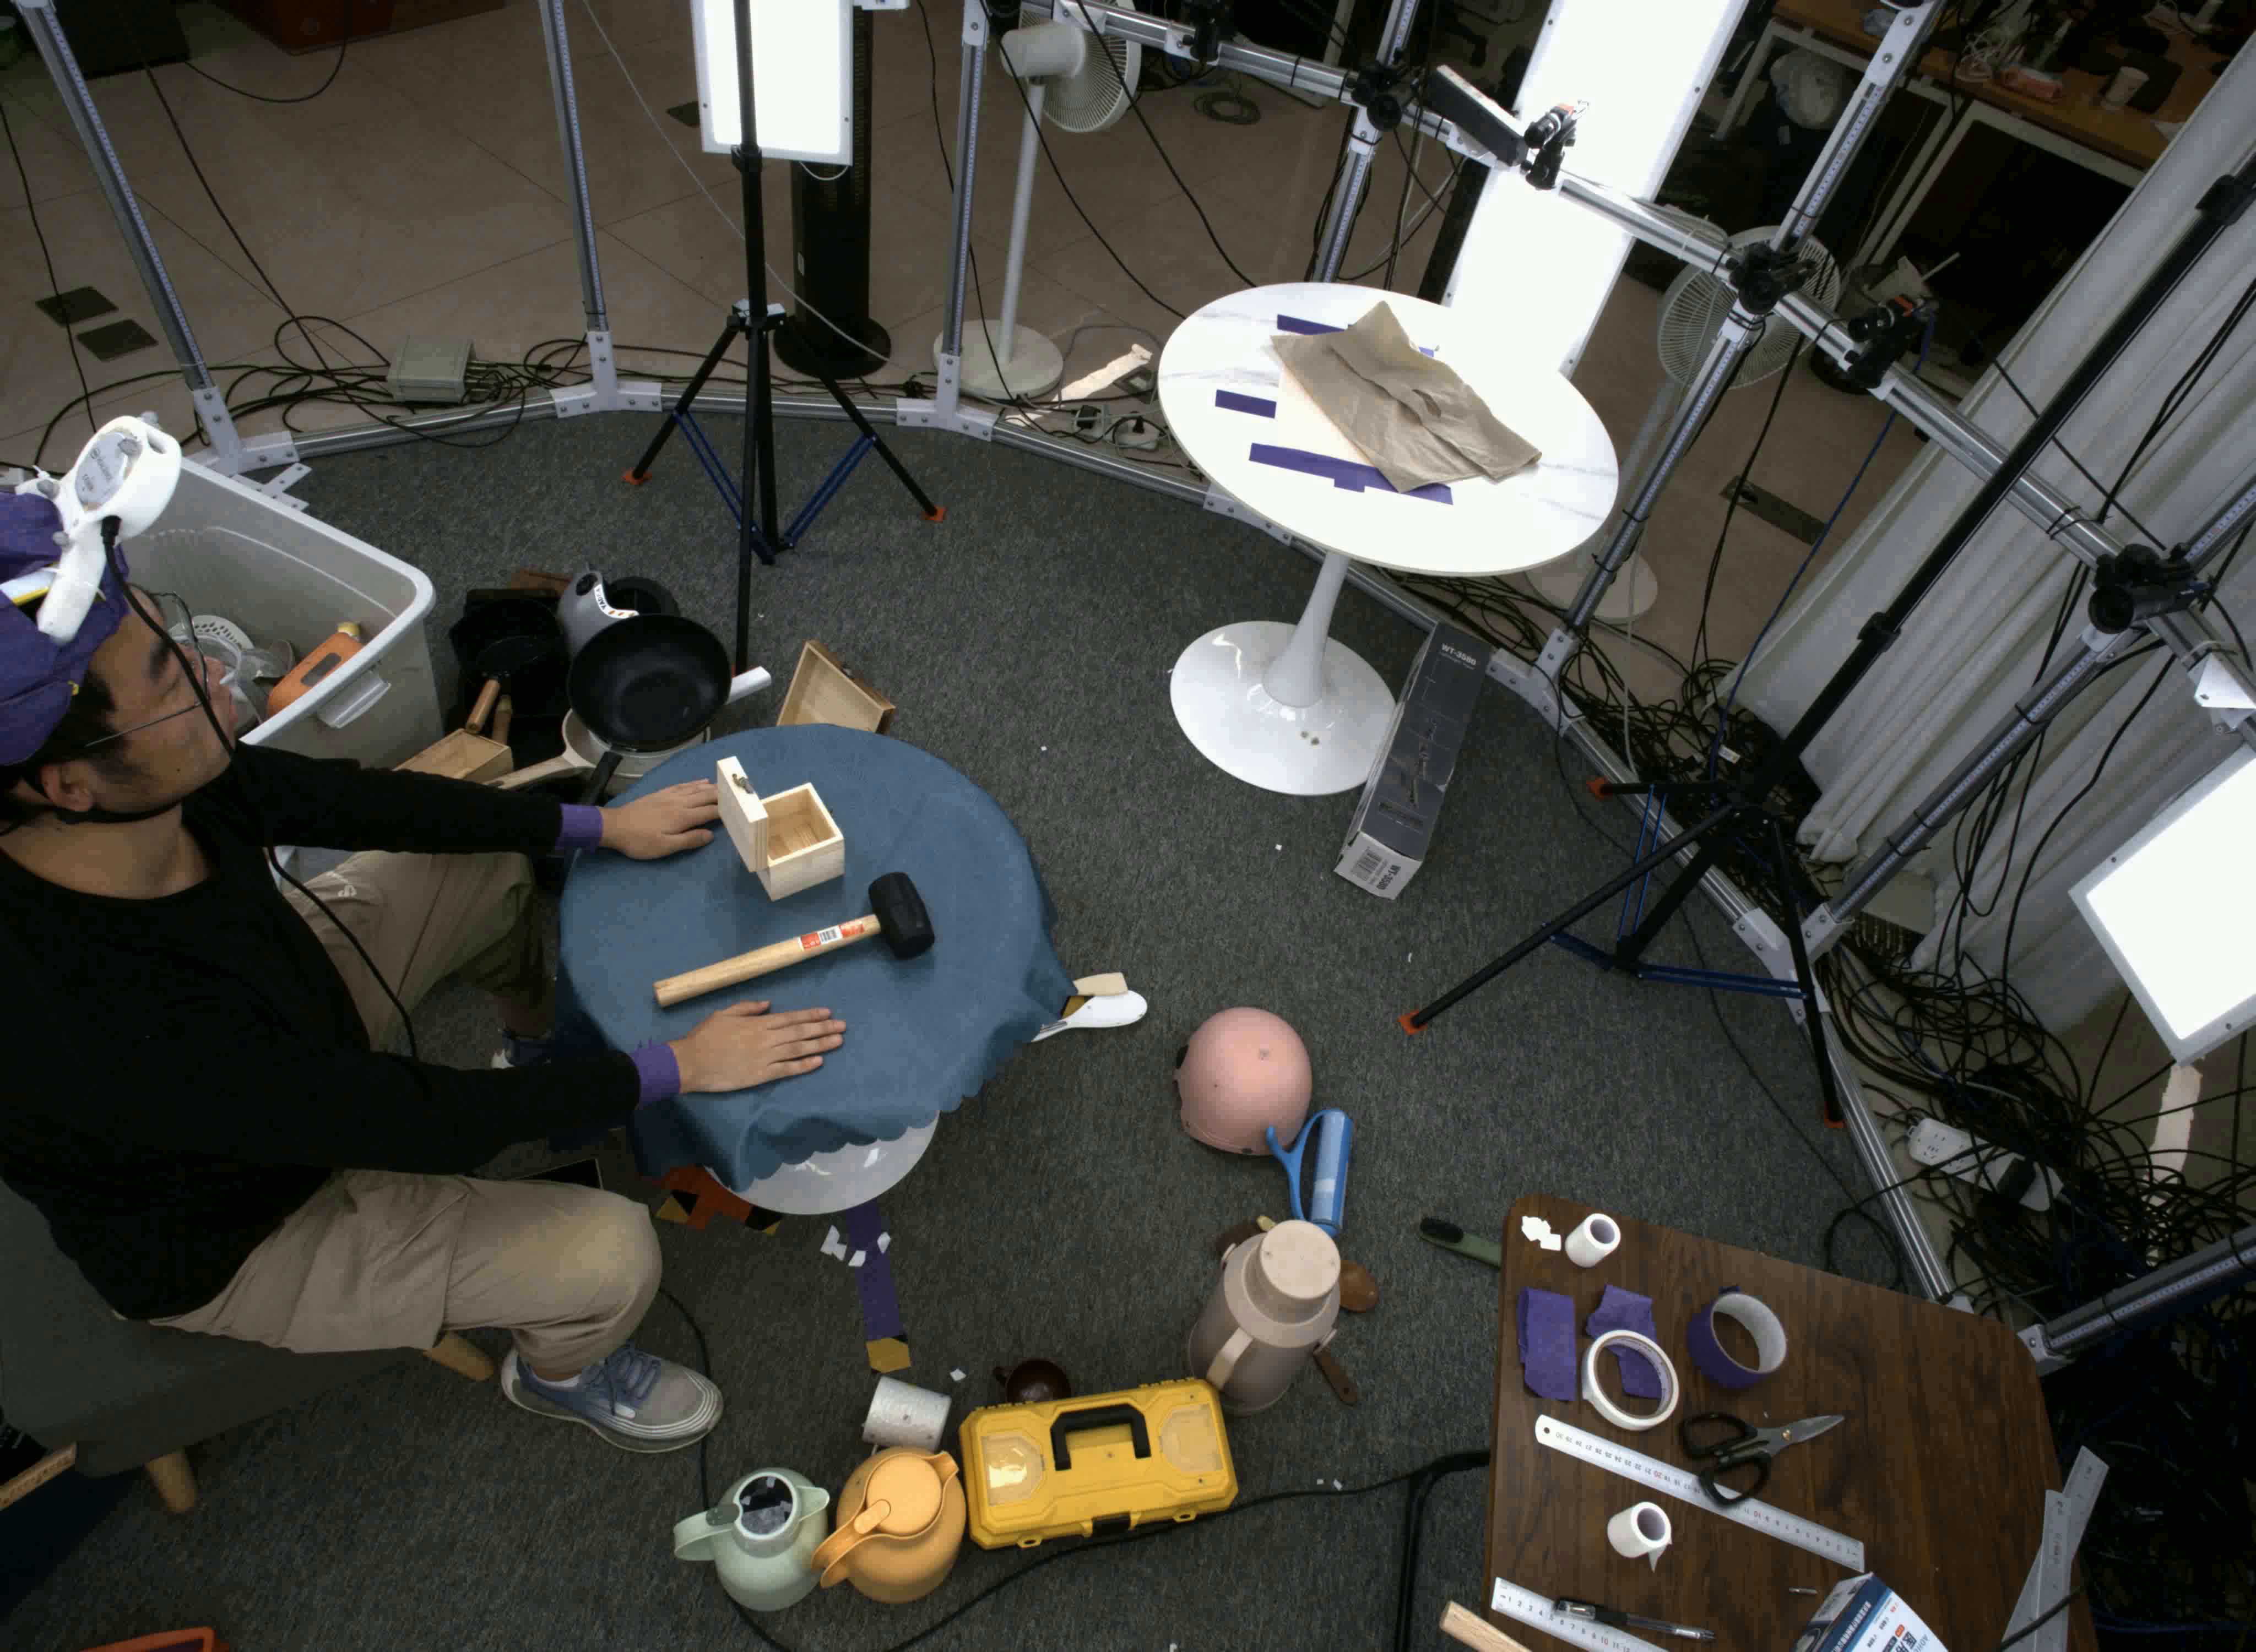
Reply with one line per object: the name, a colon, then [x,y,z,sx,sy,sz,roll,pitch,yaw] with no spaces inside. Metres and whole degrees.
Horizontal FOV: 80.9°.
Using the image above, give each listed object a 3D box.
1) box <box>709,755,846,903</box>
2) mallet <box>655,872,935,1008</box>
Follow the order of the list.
box: [-0.432,-0.010,1.610,0.134,0.189,0.100,-25,60,-25]
mallet: [-0.406,0.146,1.578,0.340,0.065,0.099,-16,57,-24]
